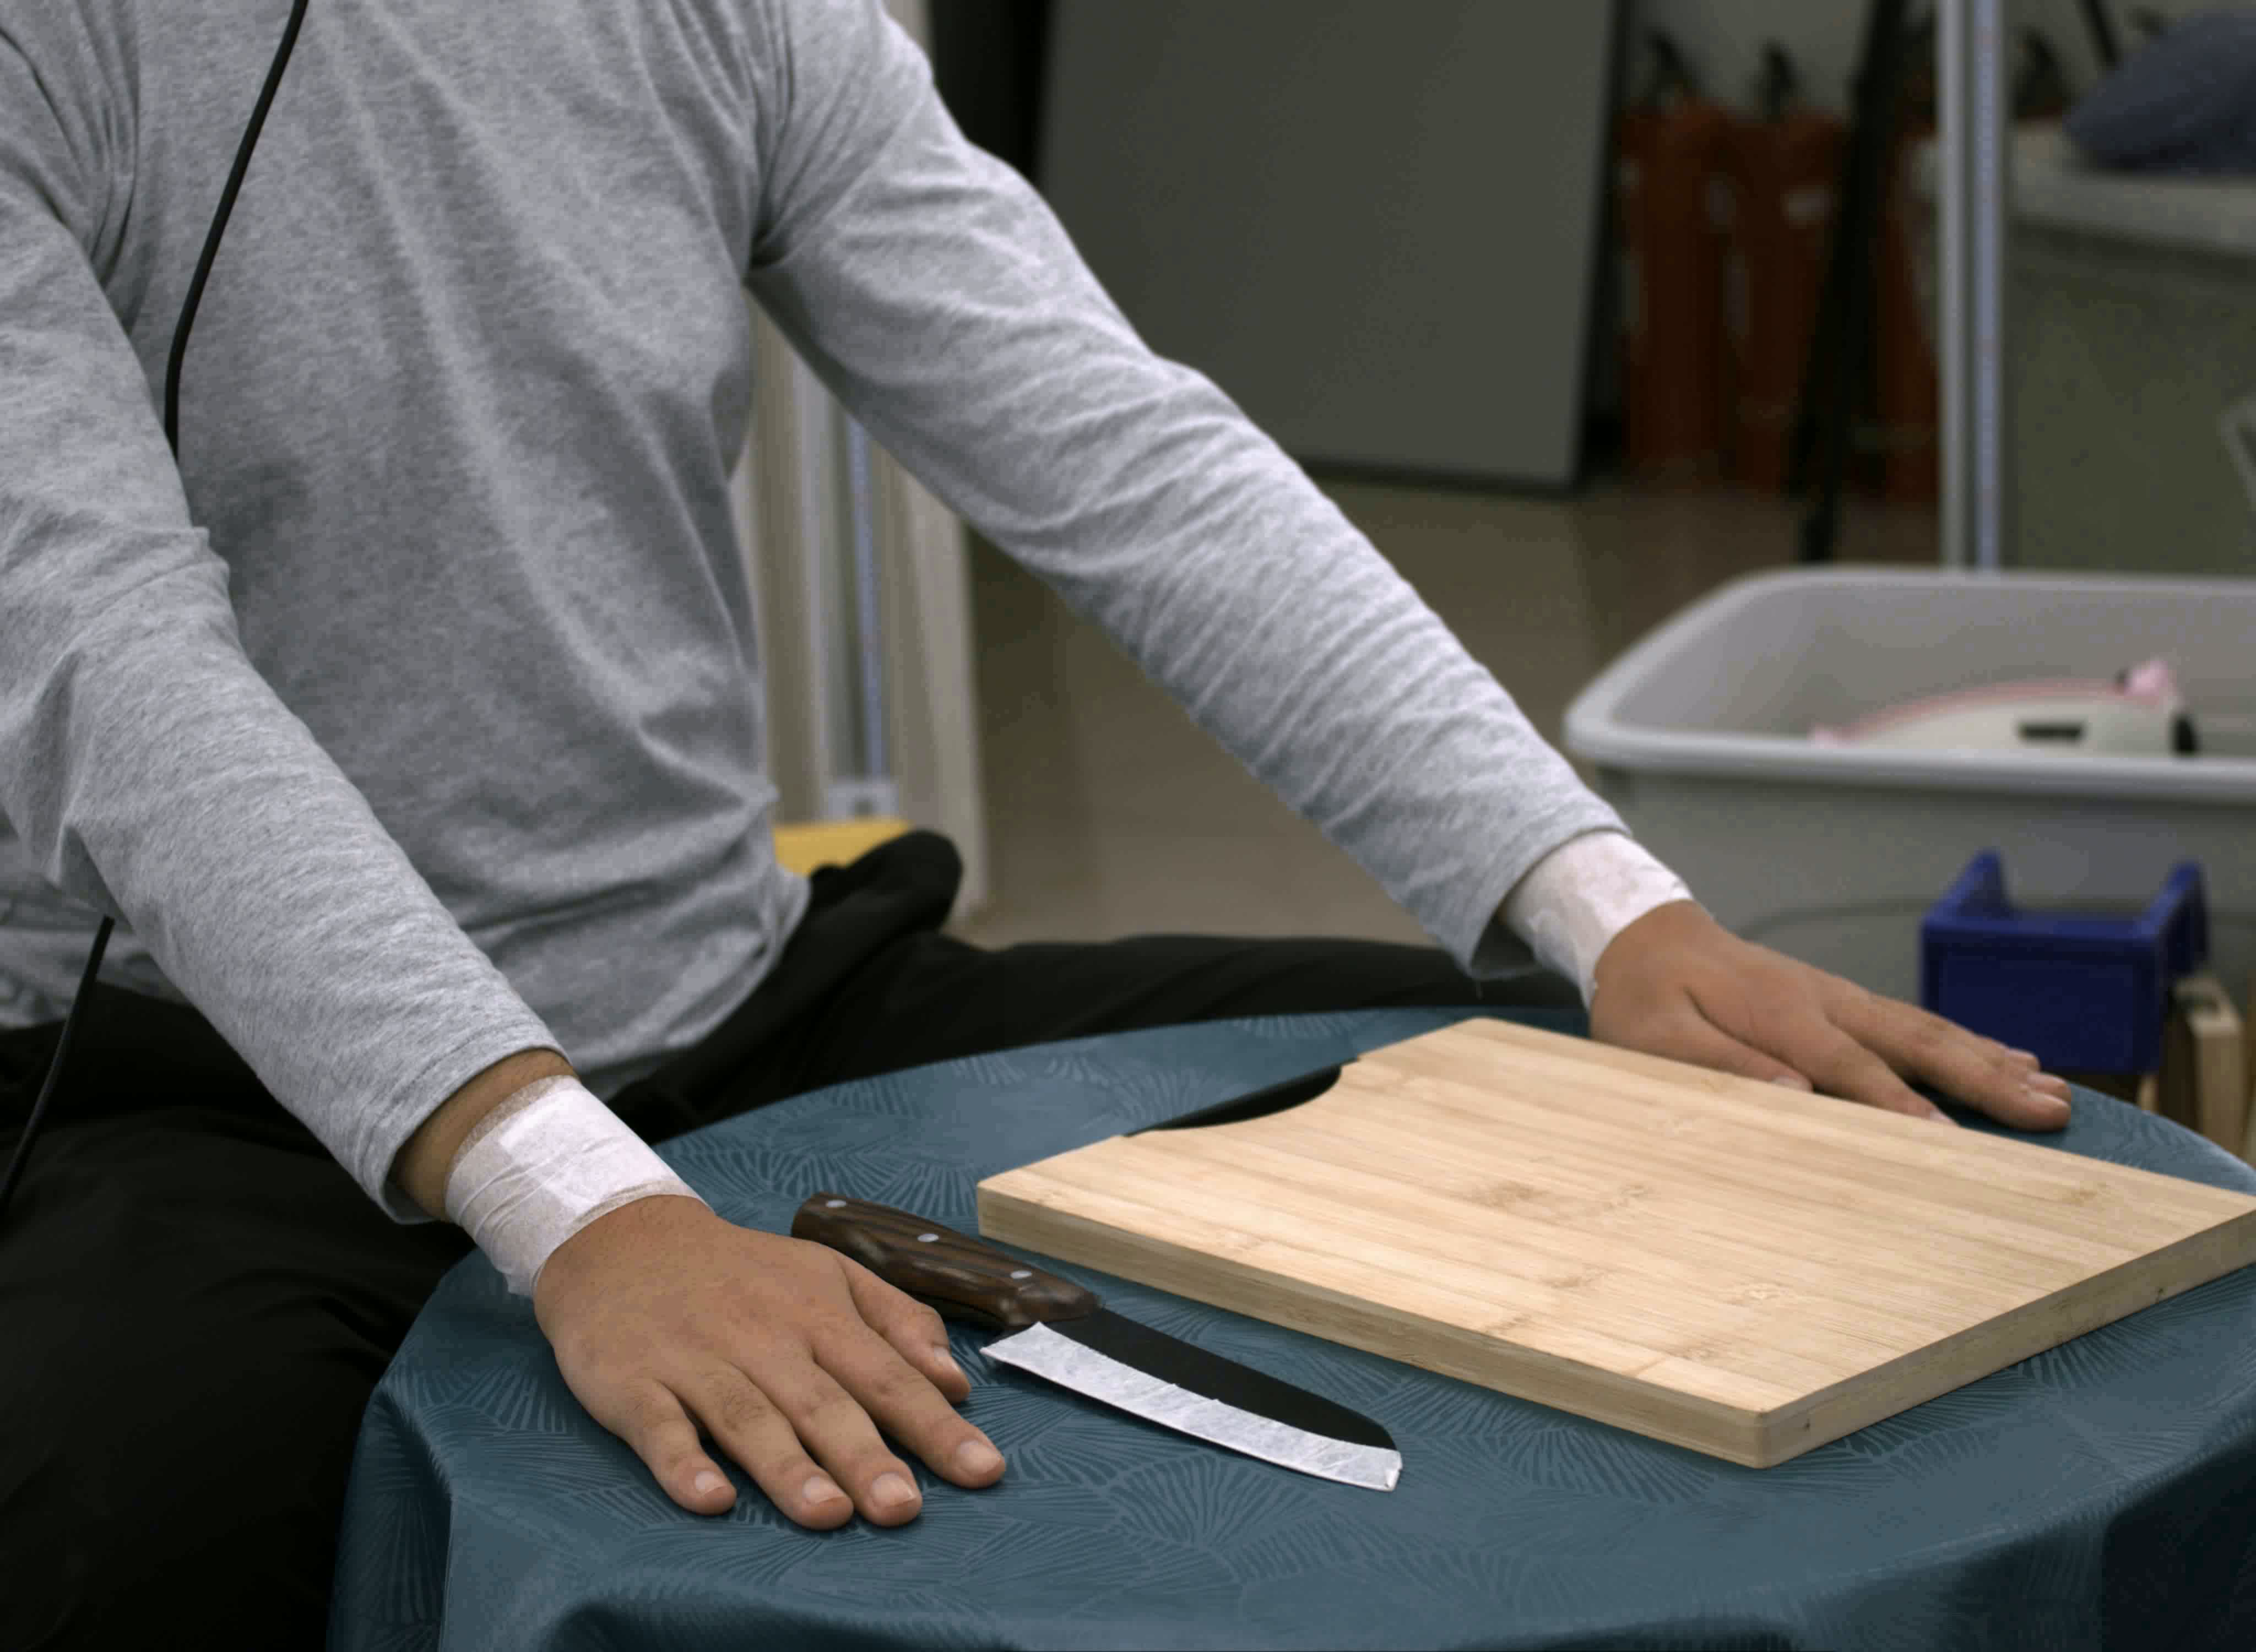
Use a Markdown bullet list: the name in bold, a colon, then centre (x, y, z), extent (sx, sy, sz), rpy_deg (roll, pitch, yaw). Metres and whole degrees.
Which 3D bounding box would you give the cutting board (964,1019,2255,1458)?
- **cutting board**: centre (0.147, 0.123, 1.691), extent (0.245, 0.024, 0.352), rpy_deg (-15, 17, -40)

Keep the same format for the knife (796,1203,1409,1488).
- **knife**: centre (-0.012, 0.156, 1.607), extent (0.049, 0.020, 0.292), rpy_deg (-19, 22, -33)
